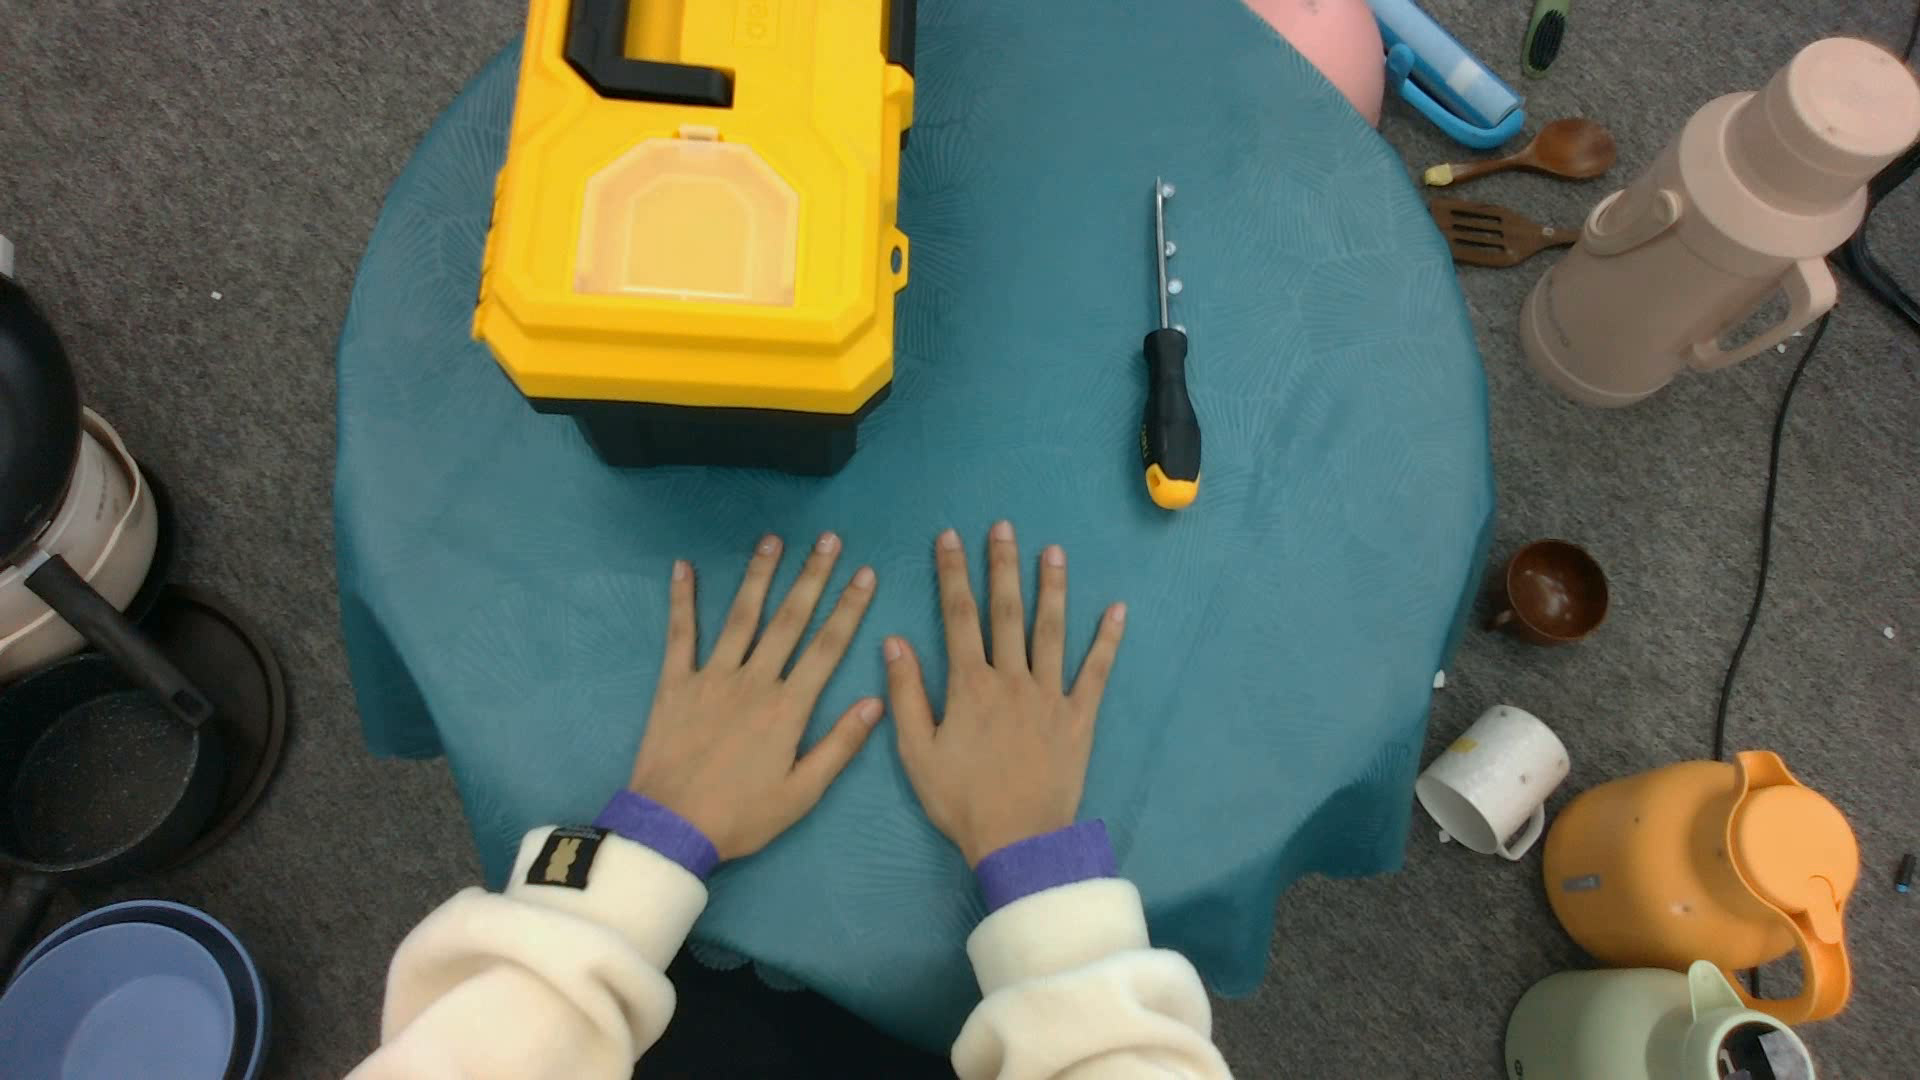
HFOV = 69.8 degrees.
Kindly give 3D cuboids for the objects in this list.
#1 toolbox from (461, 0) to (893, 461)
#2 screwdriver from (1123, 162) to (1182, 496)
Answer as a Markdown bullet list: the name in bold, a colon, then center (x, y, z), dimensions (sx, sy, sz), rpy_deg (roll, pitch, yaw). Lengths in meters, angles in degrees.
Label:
- **toolbox**: center (-0.121, -0.216, 0.661), dimensions (0.181, 0.172, 0.352), rpy_deg (3, 71, -5)
- **screwdriver**: center (0.100, -0.115, 0.736), dimensions (0.031, 0.031, 0.198), rpy_deg (2, 67, -5)
